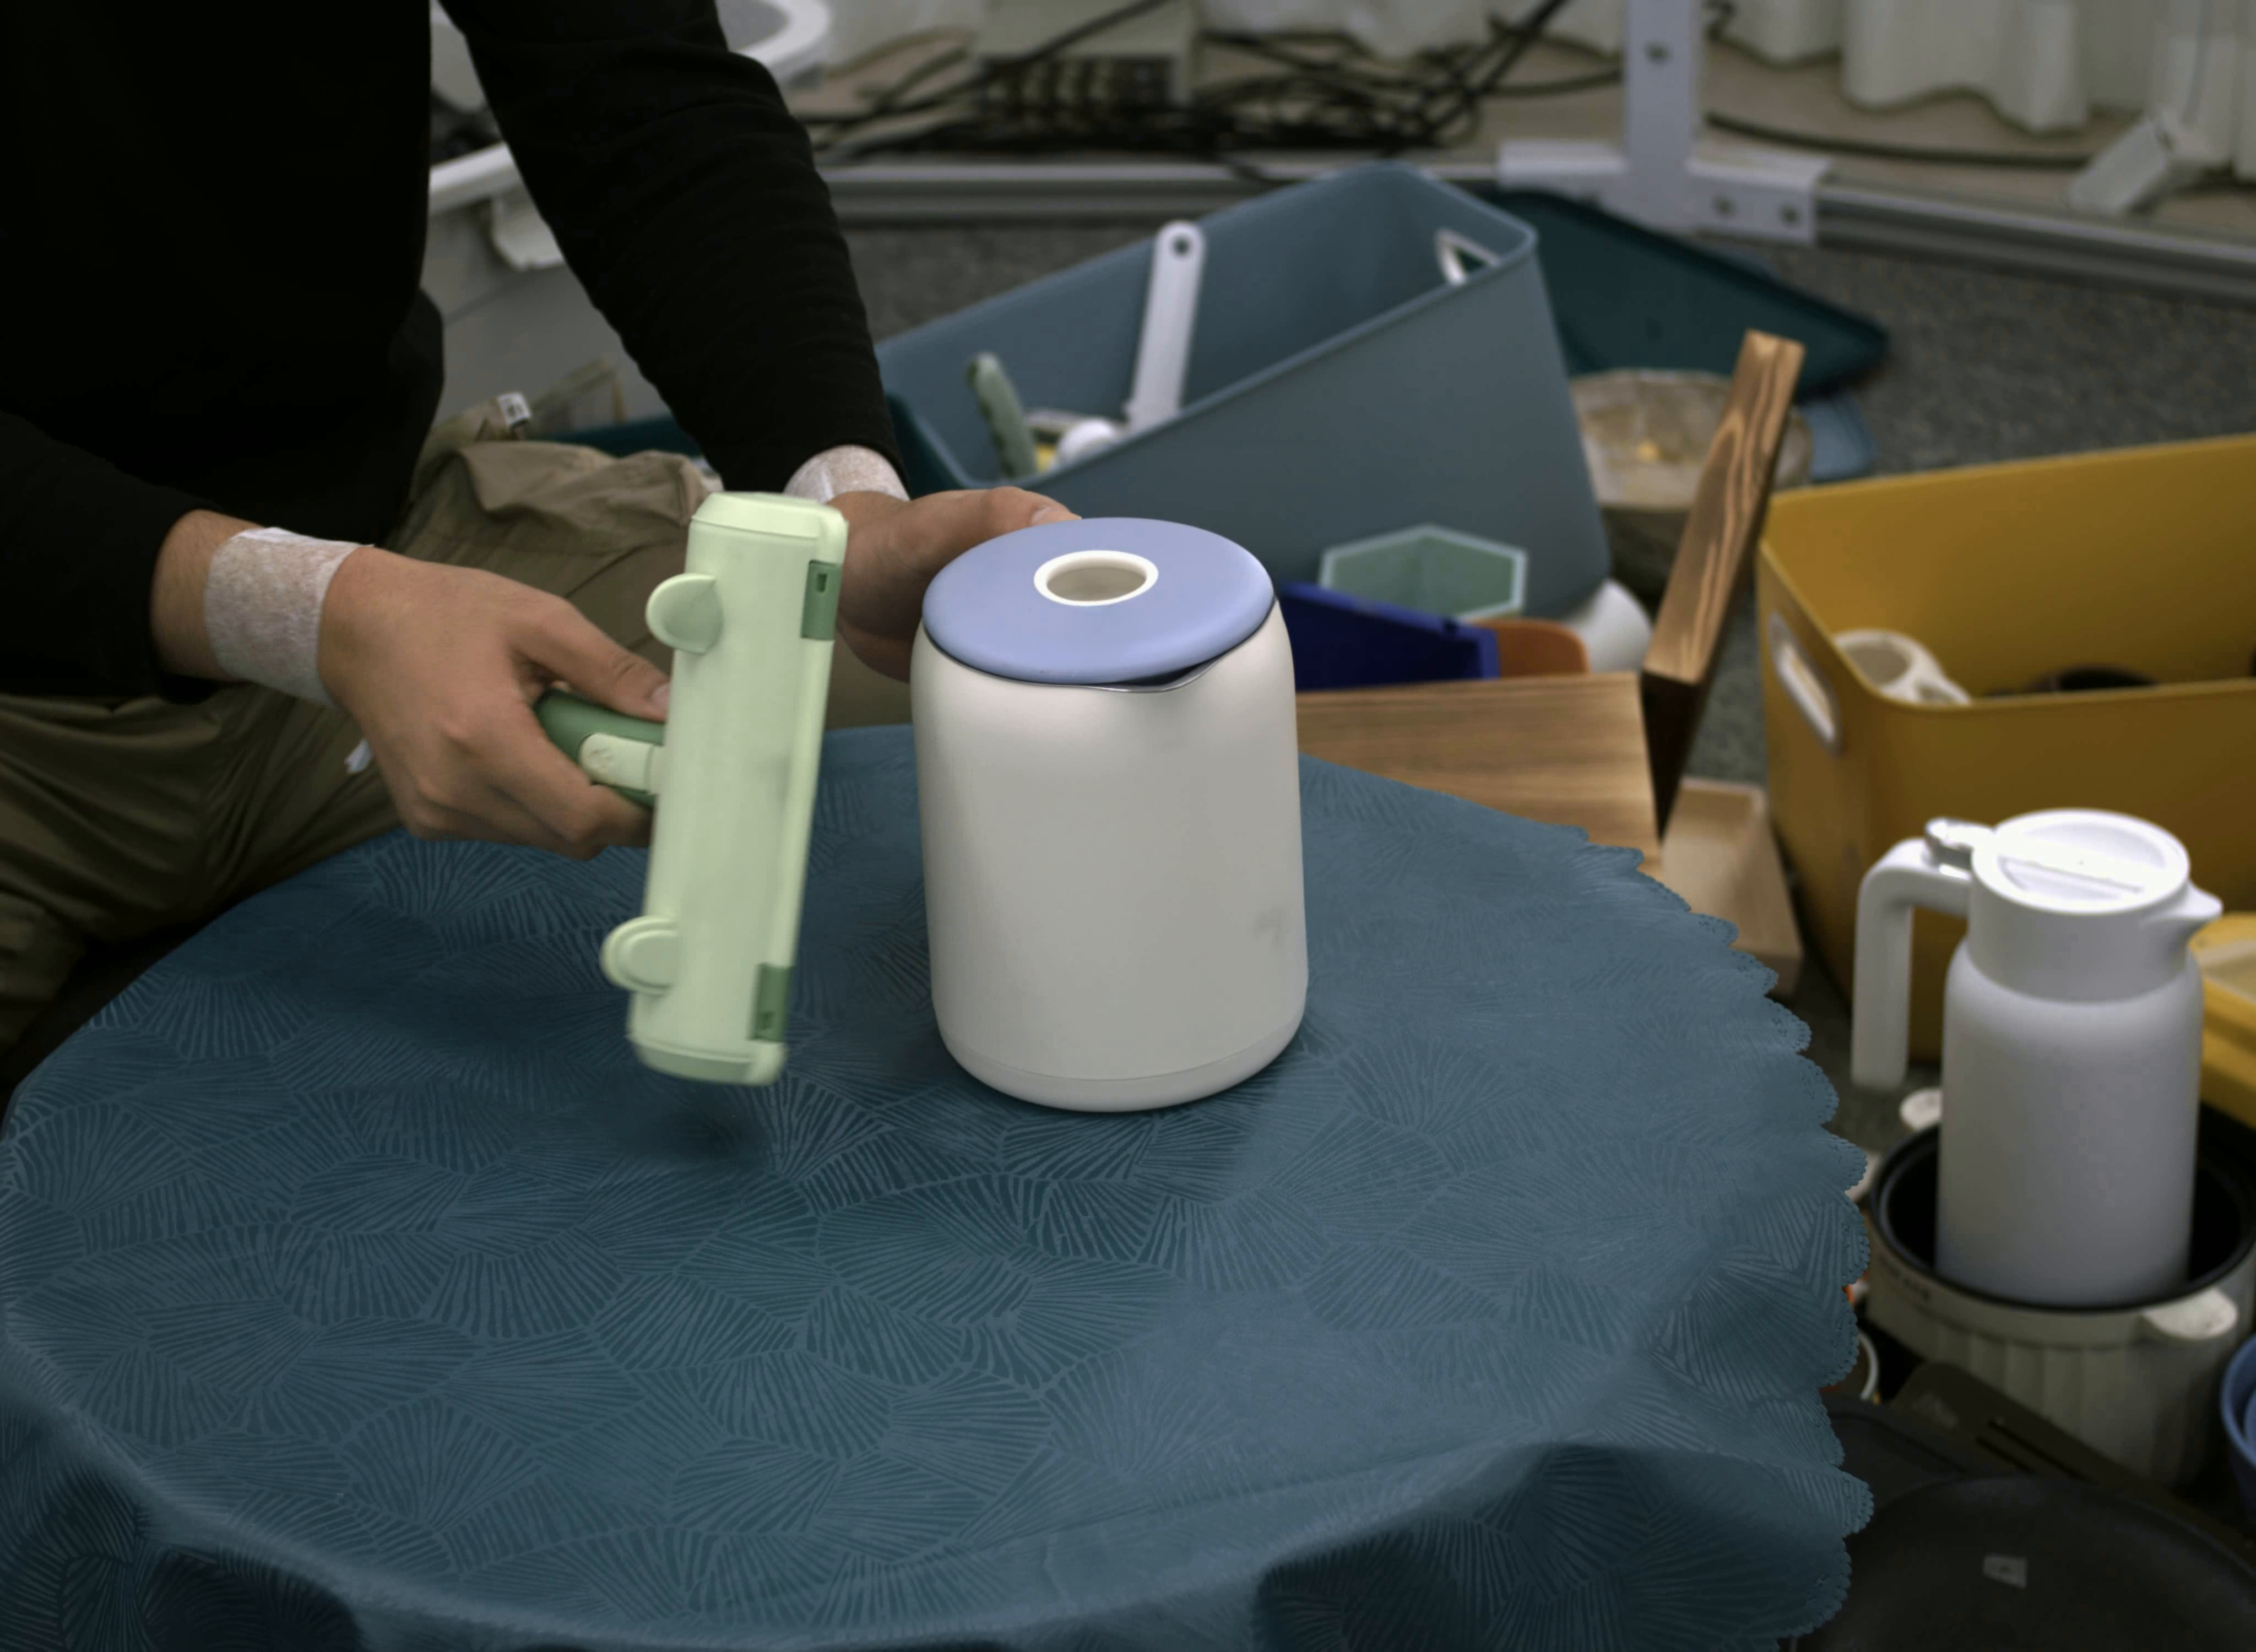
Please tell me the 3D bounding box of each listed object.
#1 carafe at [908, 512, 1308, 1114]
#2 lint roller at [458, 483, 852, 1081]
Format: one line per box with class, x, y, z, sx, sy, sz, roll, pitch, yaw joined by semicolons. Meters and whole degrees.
carafe;-0.016;-0.015;1.942;0.132;0.181;0.192;-12;26;-19
lint roller;-0.176;-0.023;1.914;0.182;0.199;0.082;10;6;32
